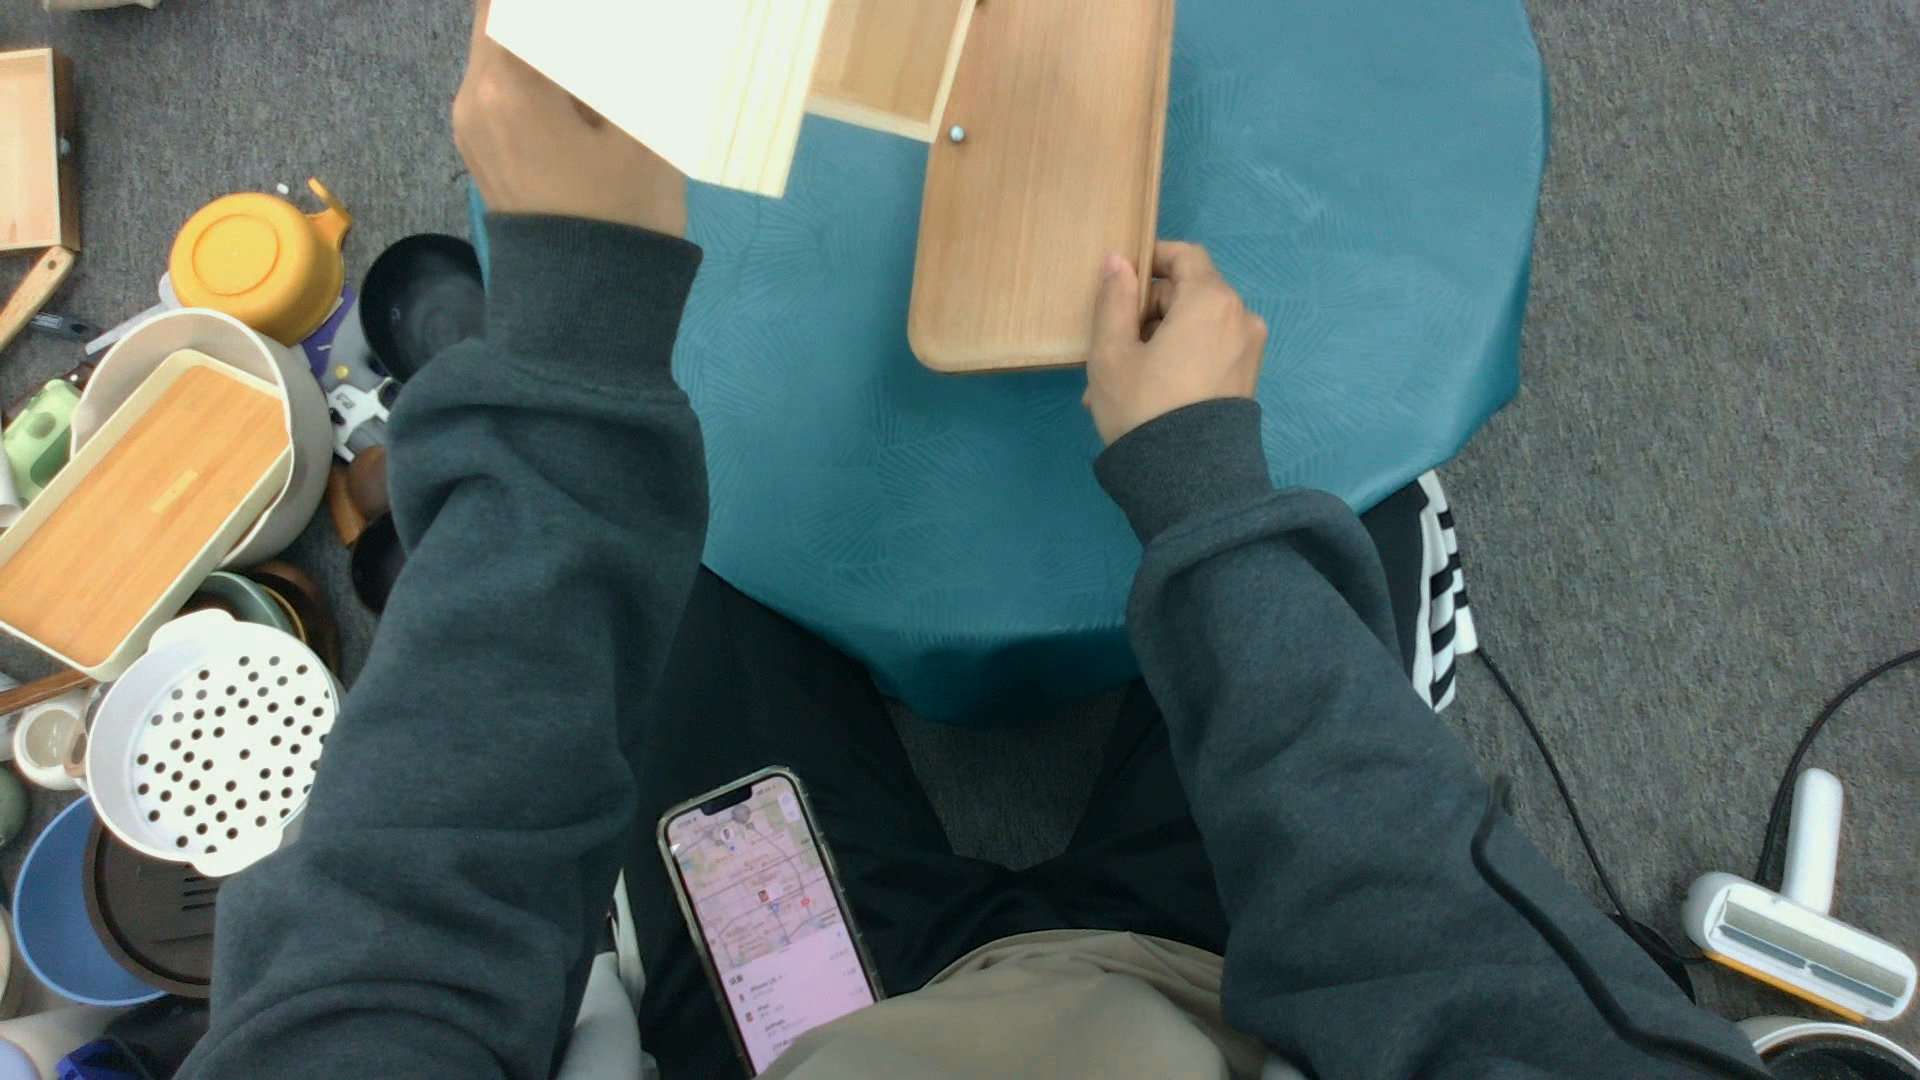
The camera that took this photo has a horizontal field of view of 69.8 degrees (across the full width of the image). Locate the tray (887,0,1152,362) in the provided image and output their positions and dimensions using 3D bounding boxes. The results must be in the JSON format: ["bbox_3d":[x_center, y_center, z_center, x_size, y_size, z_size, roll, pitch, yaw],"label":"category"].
[{"bbox_3d":[0.033,-0.208,0.695,0.130,0.023,0.251,-2,74,28],"label":"tray"}]

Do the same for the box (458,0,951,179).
[{"bbox_3d":[-0.054,-0.237,0.475,0.253,0.266,0.181,39,119,38],"label":"box"}]
